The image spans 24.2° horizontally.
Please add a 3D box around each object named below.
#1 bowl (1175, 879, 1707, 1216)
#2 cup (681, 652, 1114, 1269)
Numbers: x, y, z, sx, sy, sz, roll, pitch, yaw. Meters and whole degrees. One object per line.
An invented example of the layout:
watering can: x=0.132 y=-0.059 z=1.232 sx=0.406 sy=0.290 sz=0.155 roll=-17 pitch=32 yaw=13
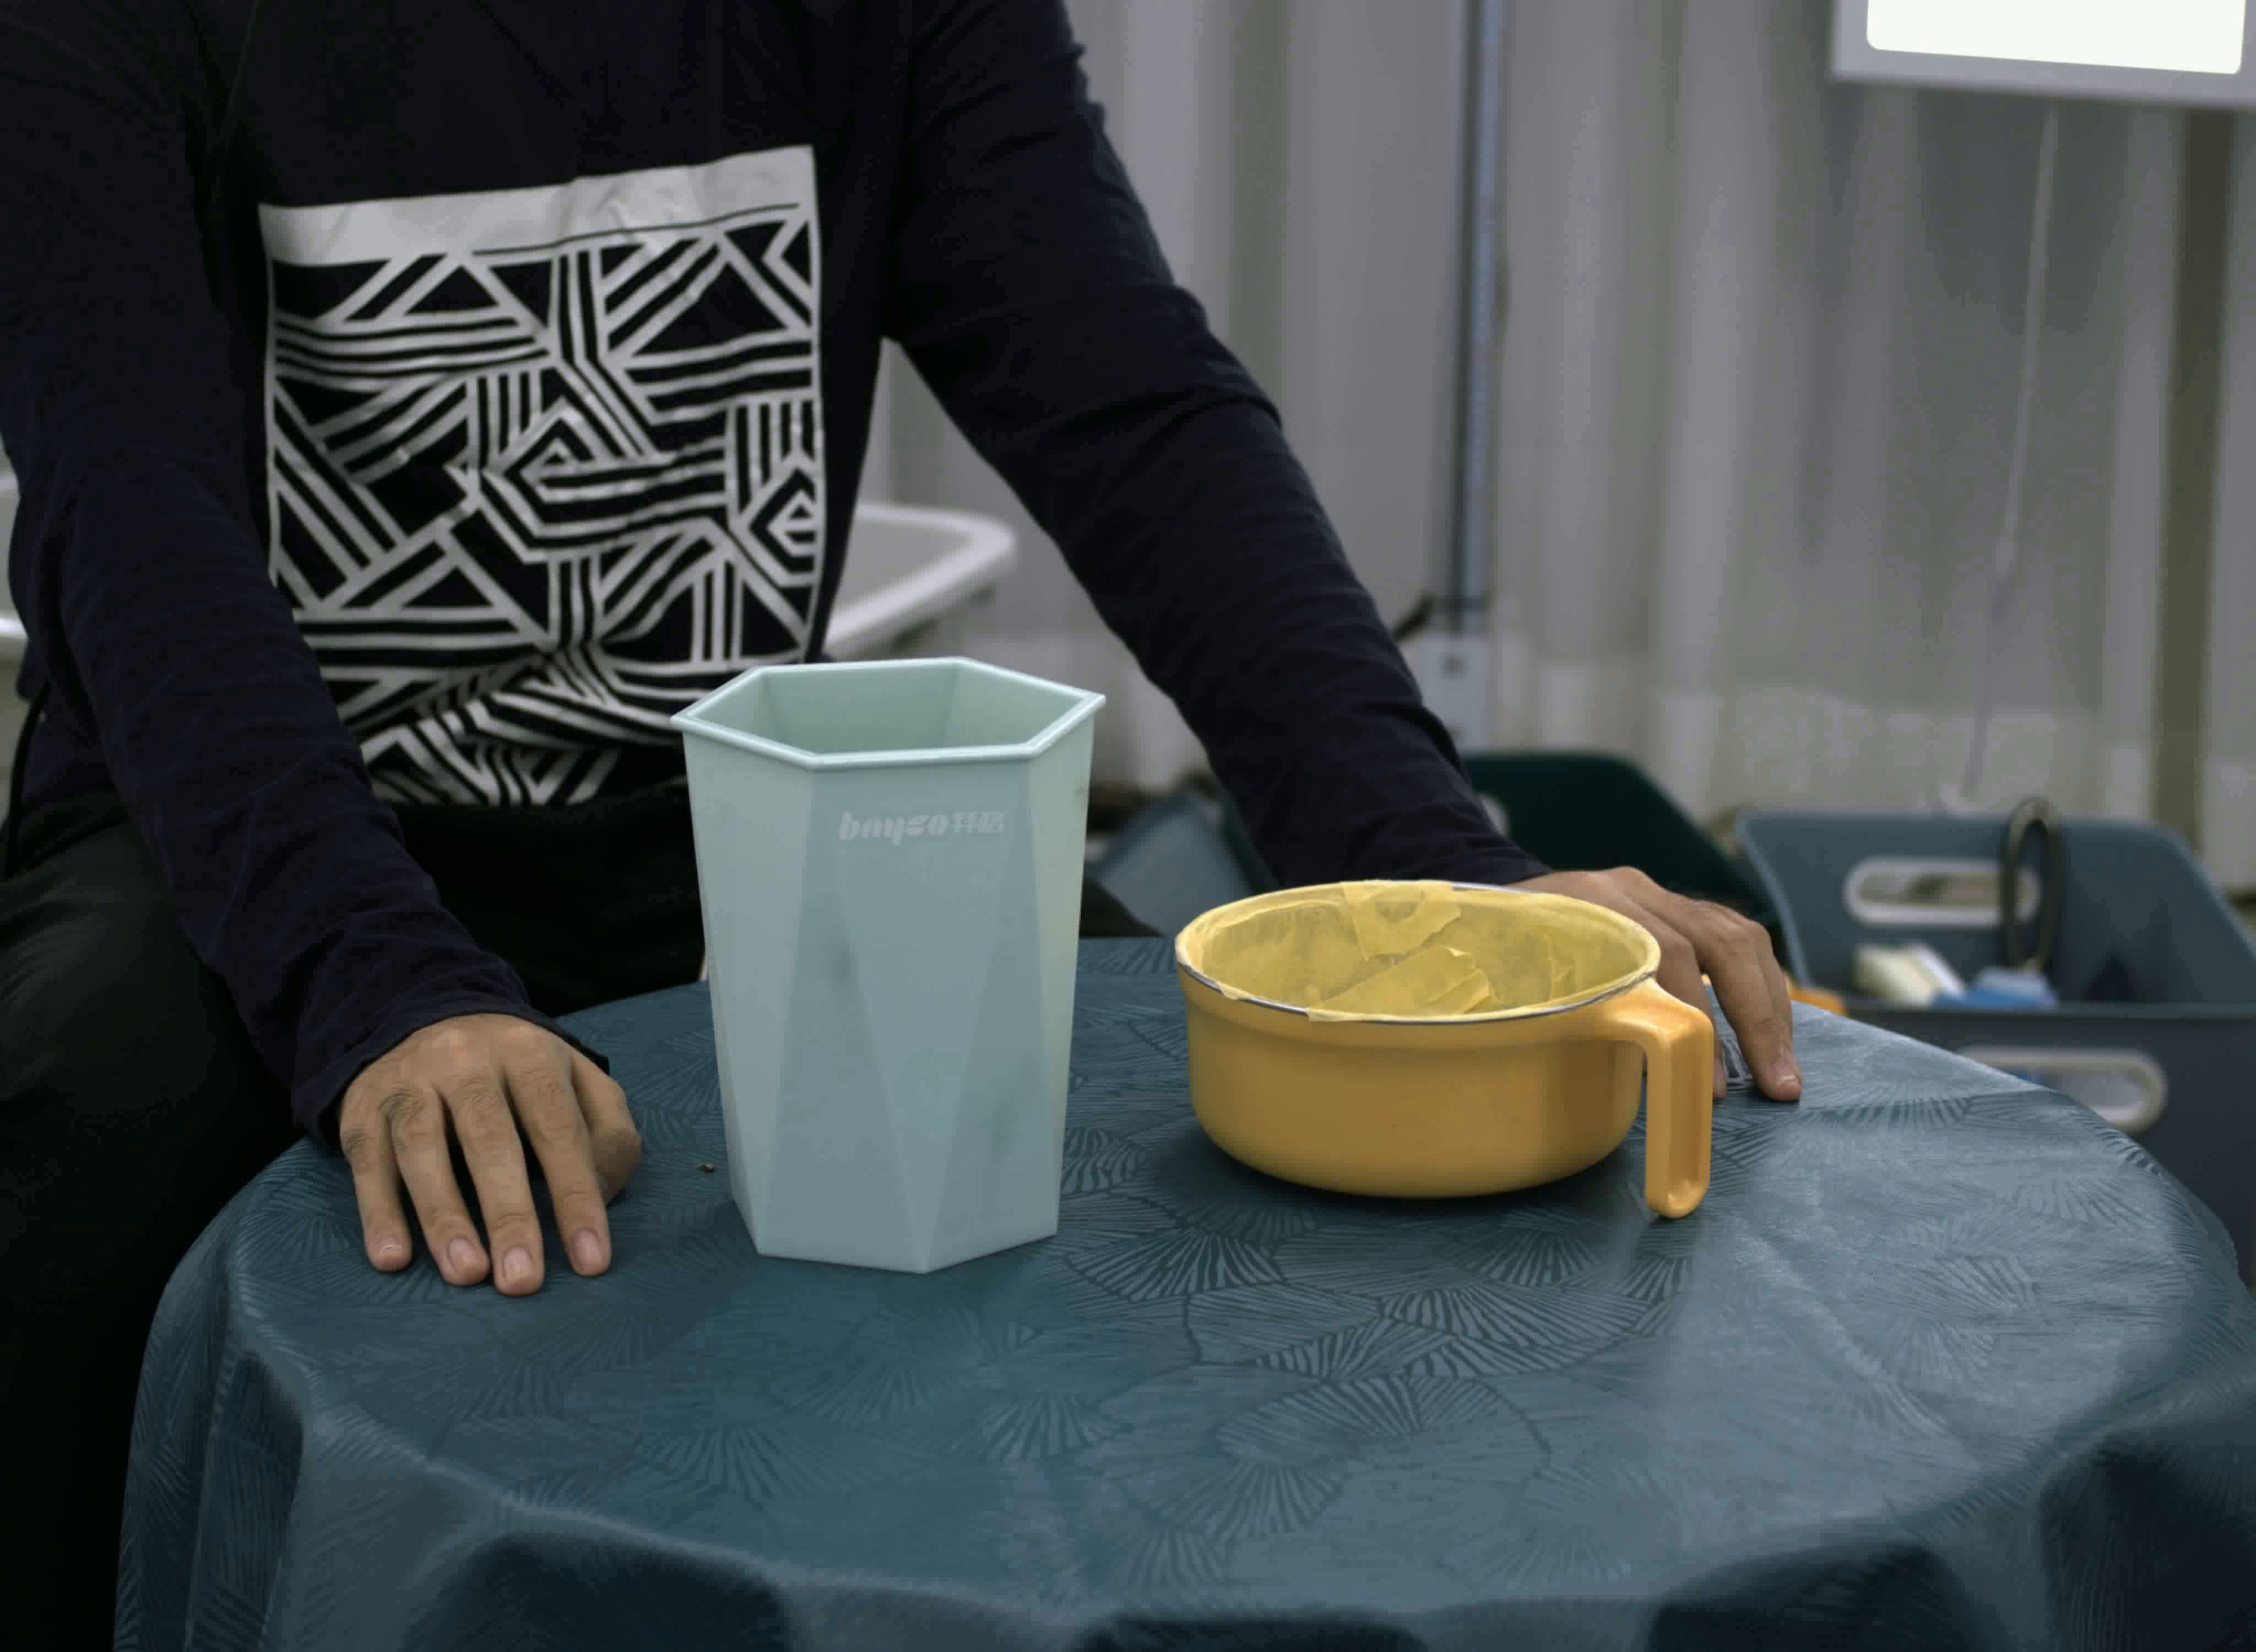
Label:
bowl: x=0.100 y=0.070 z=1.651 sx=0.177 sy=0.075 sz=0.154 roll=10 pitch=14 yaw=36
cup: x=-0.069 y=0.040 z=1.576 sx=0.131 sy=0.164 sz=0.114 roll=-3 pitch=15 yaw=-14
